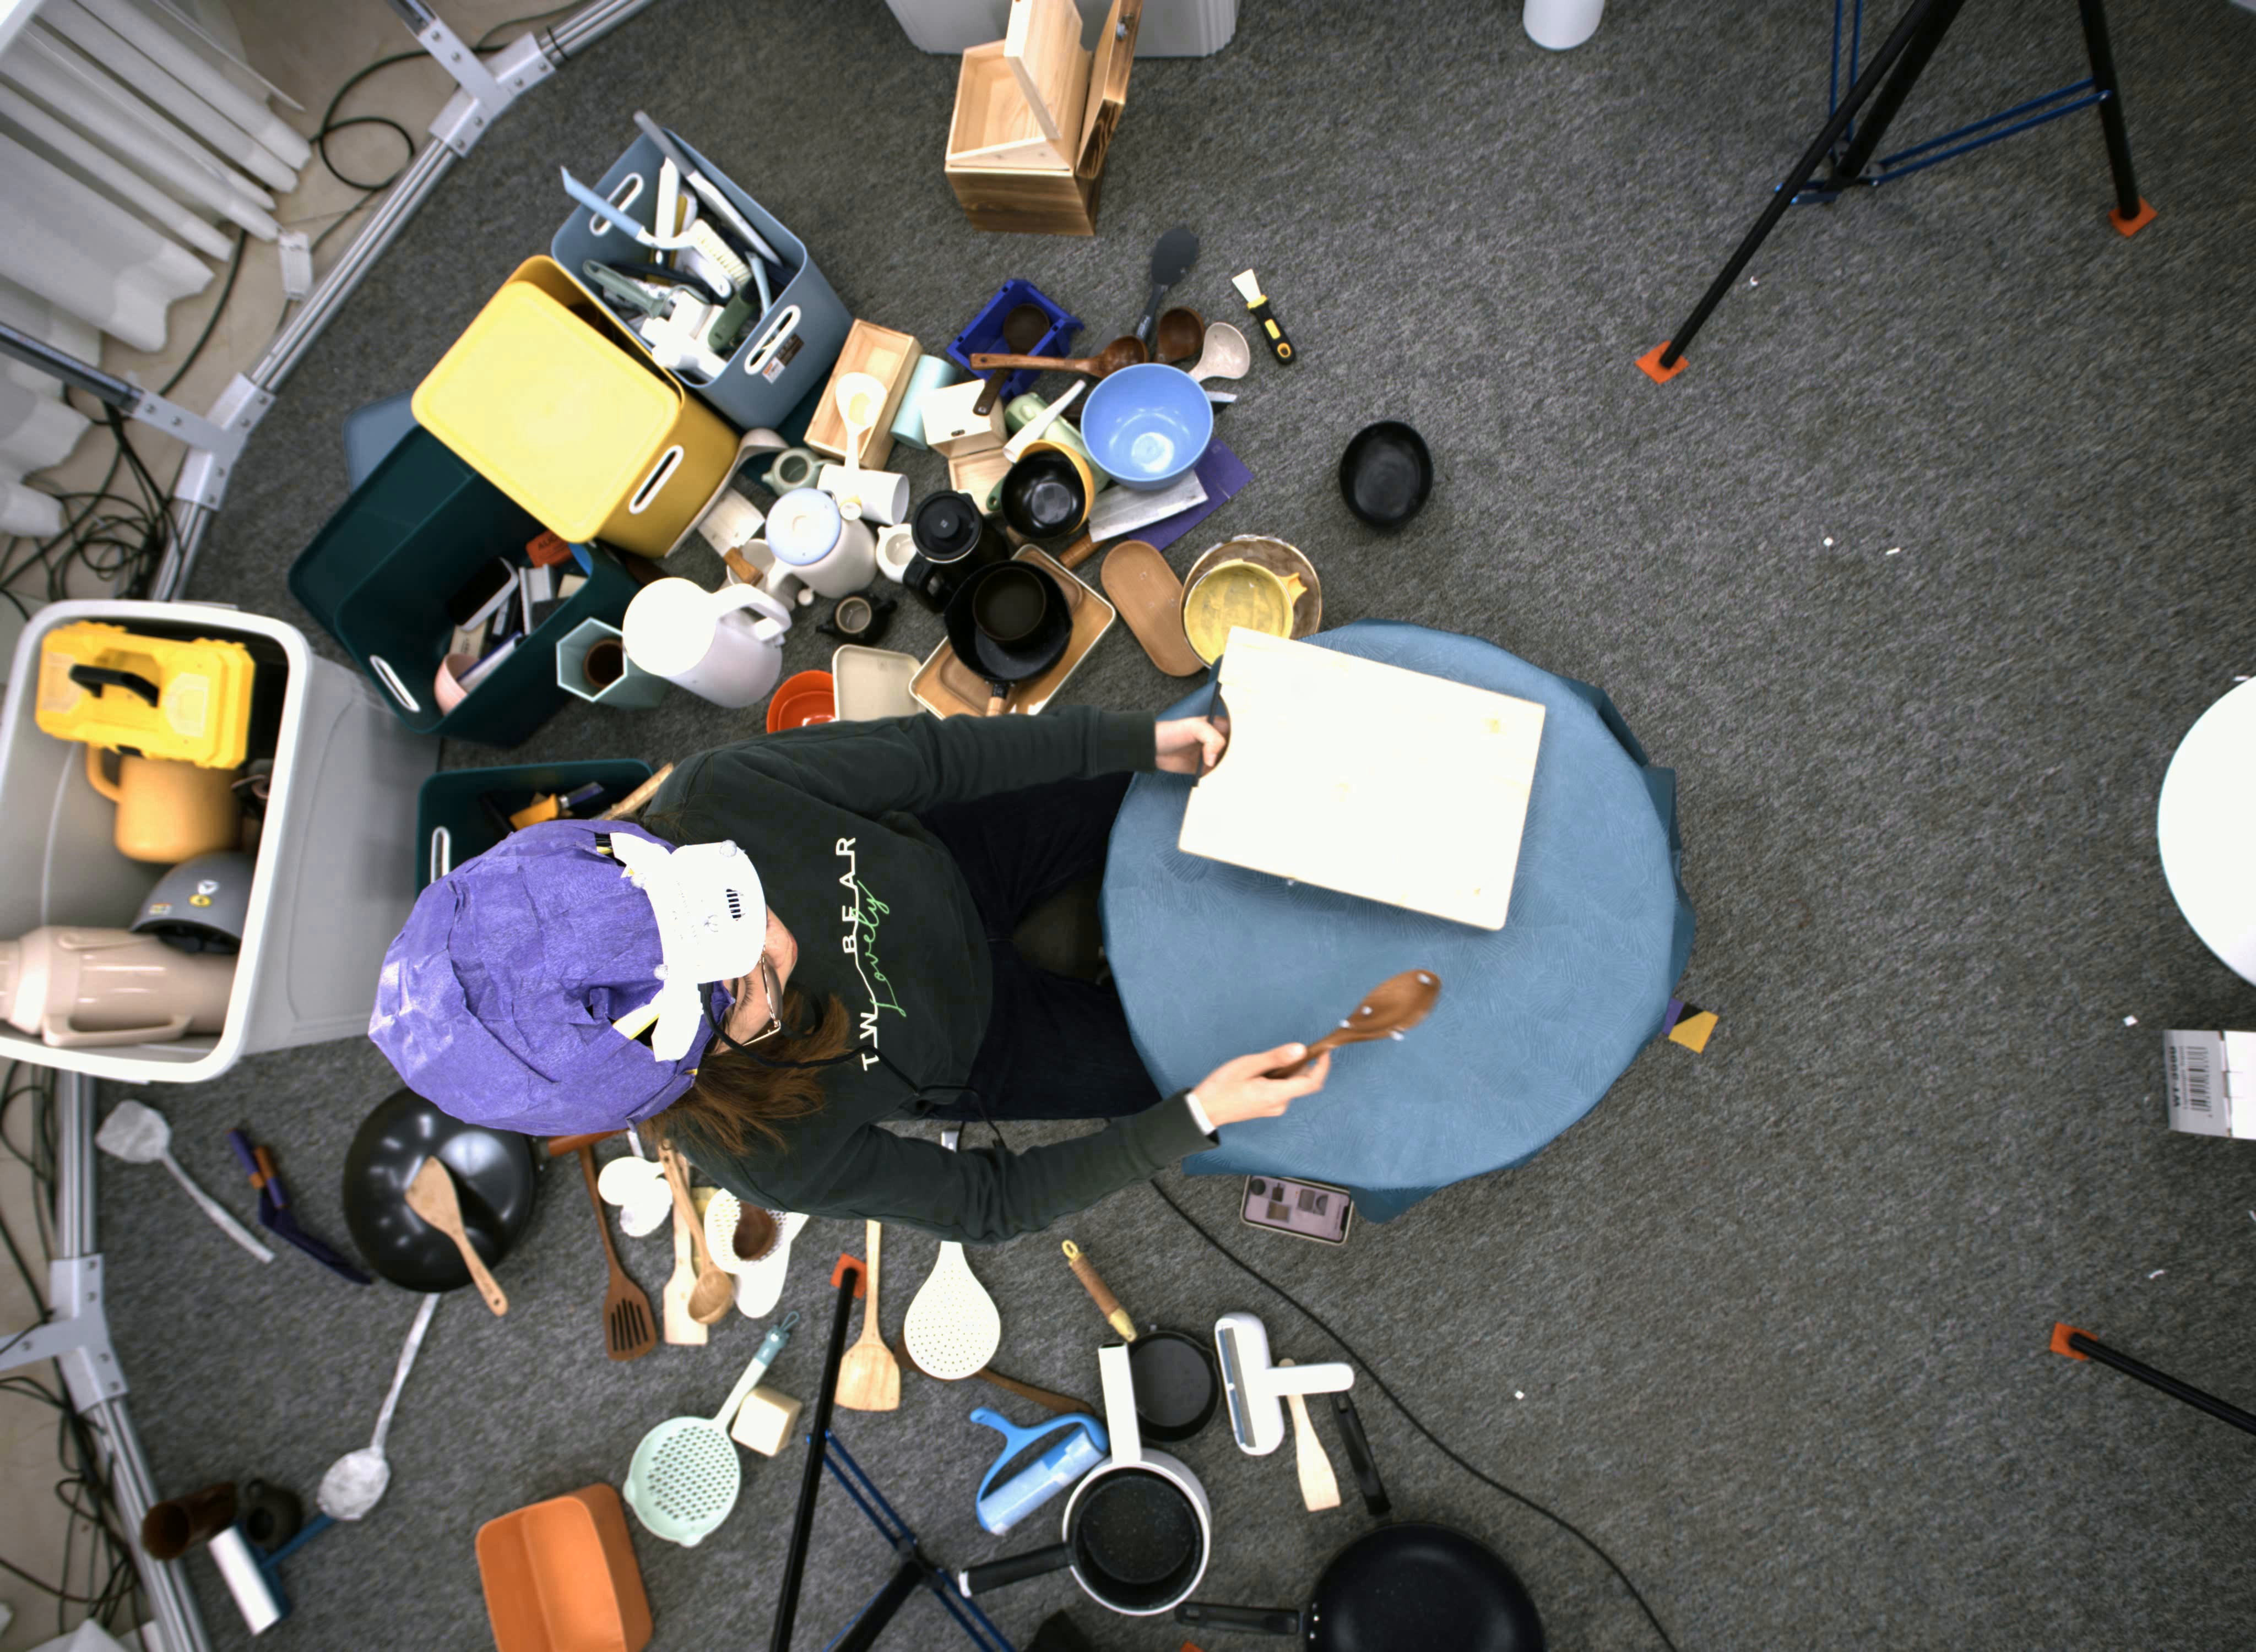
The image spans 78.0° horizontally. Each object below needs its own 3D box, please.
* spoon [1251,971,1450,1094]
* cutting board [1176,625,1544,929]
[{"bbox_3d":[0.211,0.201,1.318,0.218,0.073,0.017,-30,122,18],"label":"spoon"},{"bbox_3d":[0.241,-0.051,1.417,0.349,0.024,0.248,12,82,-3],"label":"cutting board"}]
